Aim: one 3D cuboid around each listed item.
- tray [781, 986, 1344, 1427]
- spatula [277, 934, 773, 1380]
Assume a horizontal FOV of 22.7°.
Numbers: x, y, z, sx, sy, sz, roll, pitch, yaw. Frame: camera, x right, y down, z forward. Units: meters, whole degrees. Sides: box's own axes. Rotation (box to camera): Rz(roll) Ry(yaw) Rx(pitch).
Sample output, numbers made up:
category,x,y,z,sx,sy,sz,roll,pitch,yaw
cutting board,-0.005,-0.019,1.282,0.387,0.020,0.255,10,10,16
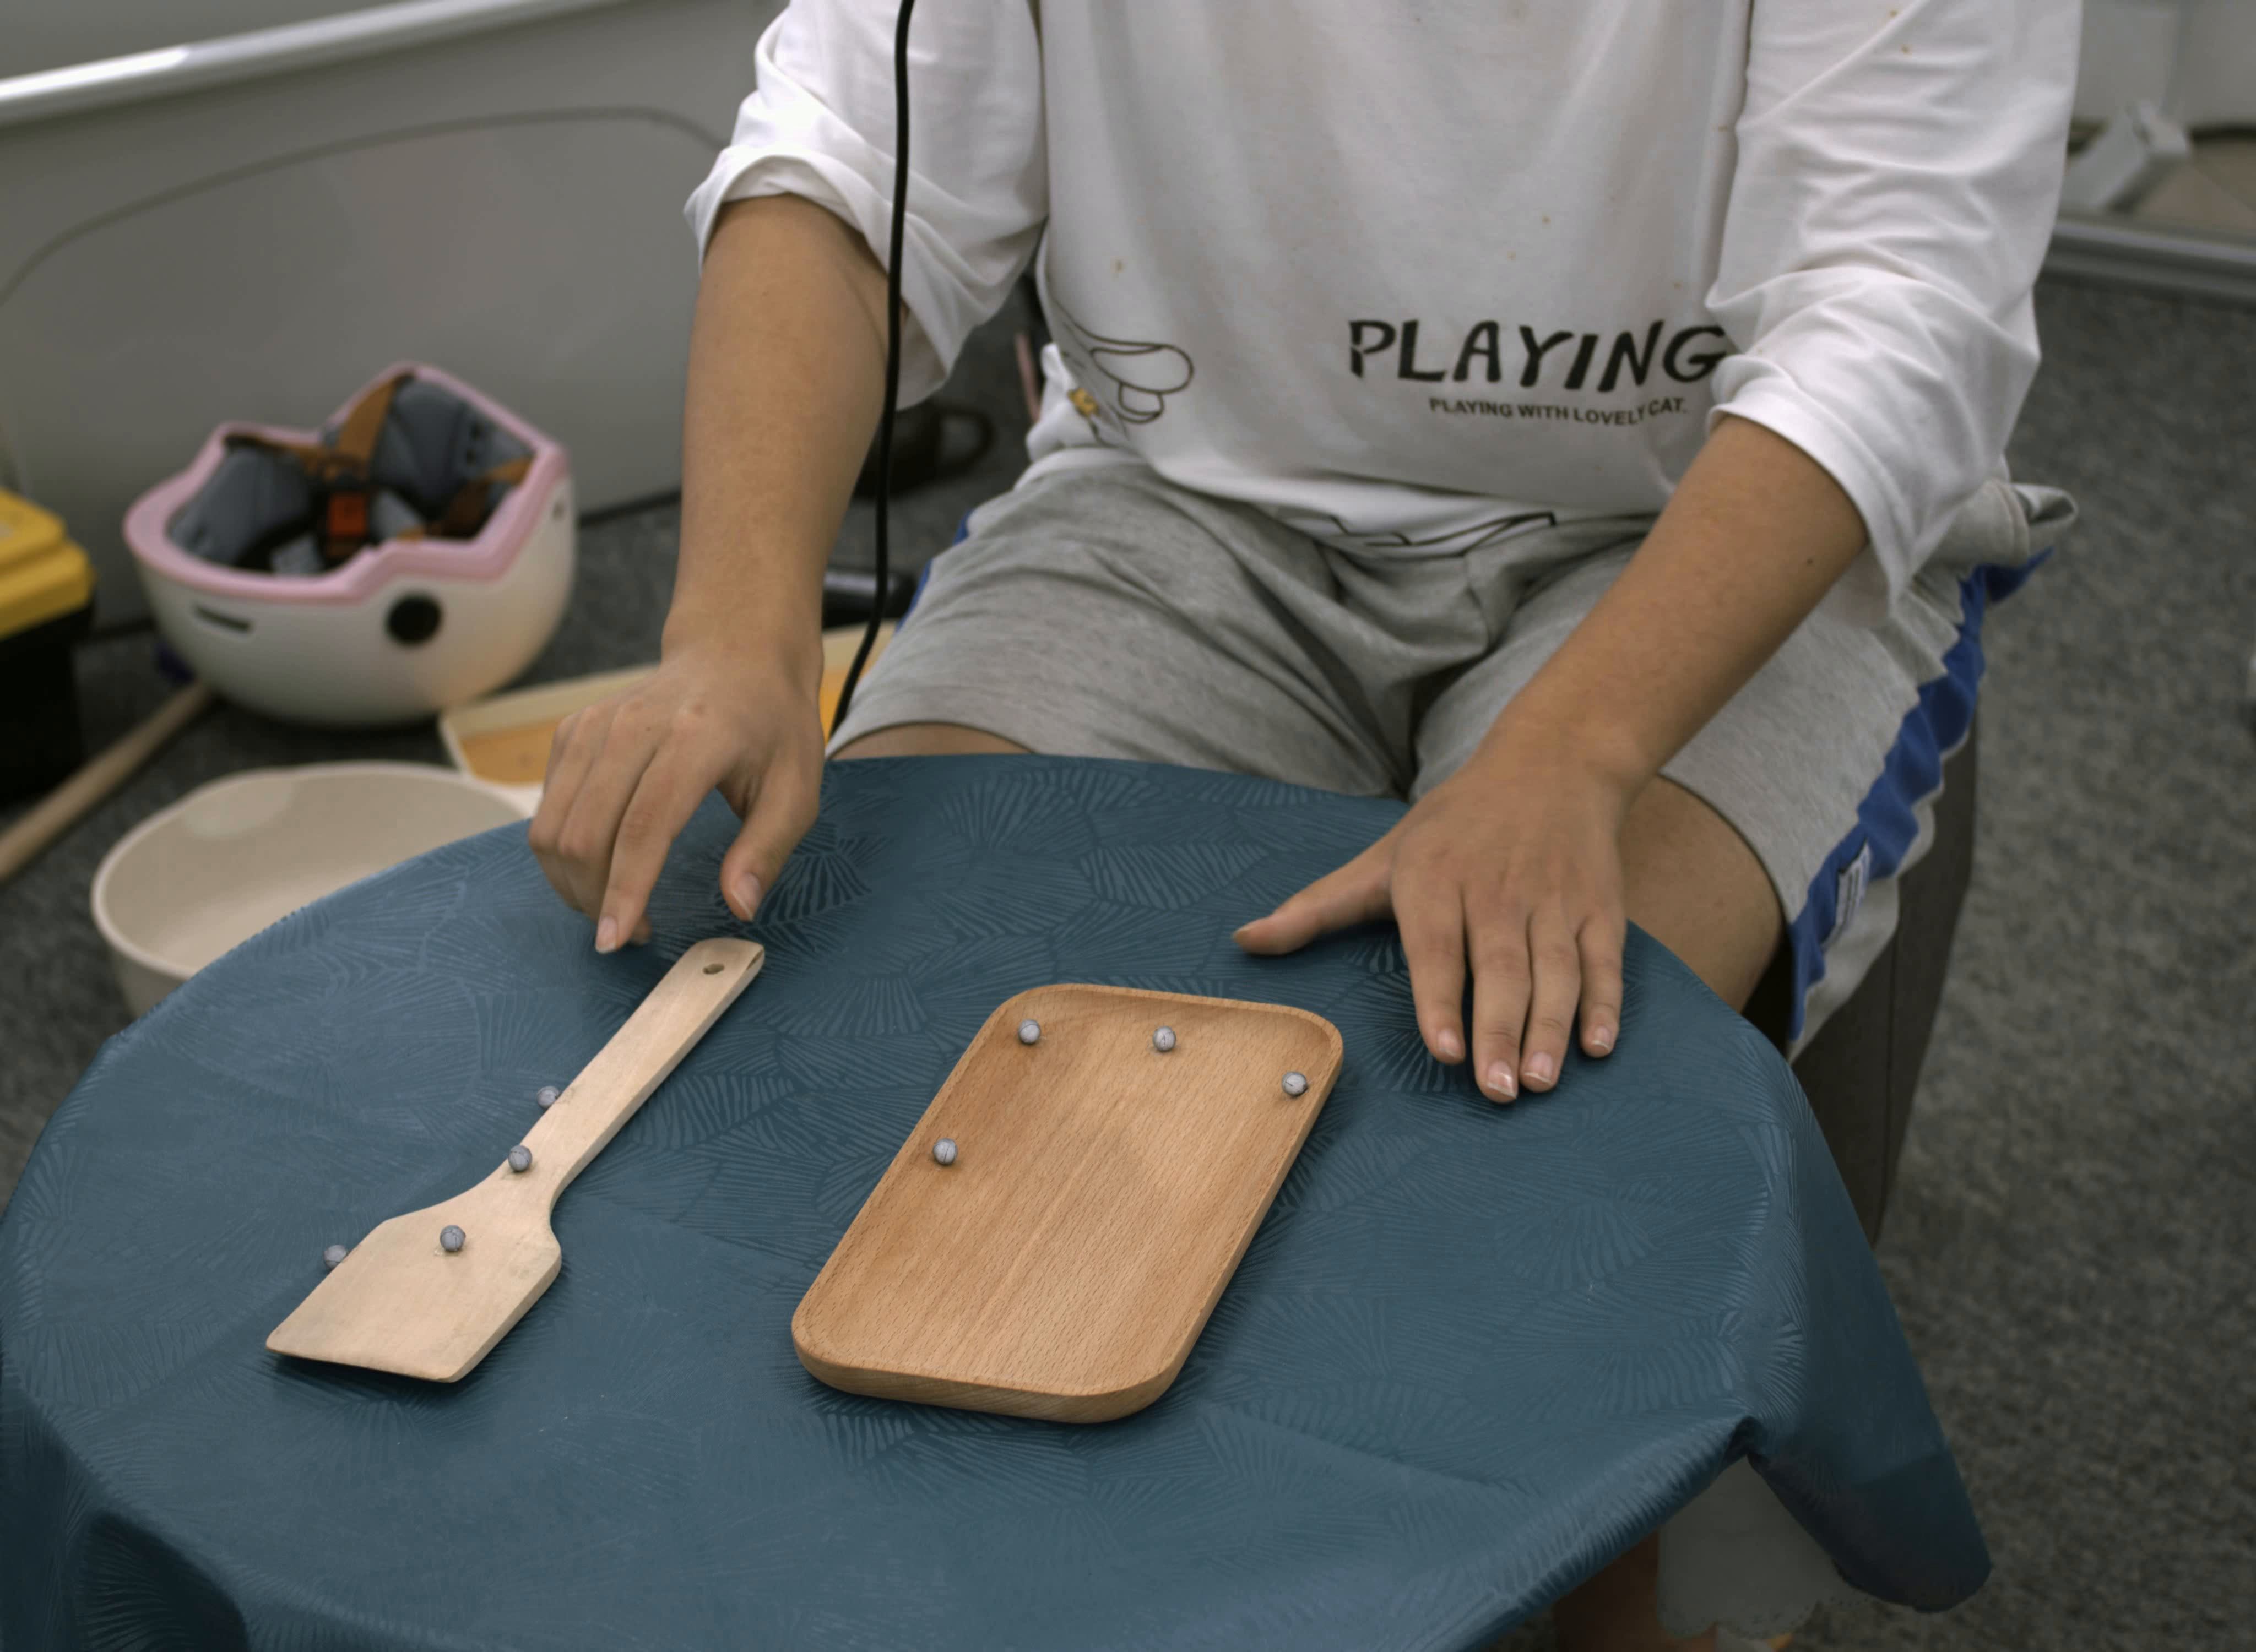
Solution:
category,x,y,z,sx,sy,sz,roll,pitch,yaw
tray,-0.018,0.122,1.848,0.129,0.022,0.255,4,28,18
spatula,-0.190,0.107,1.899,0.072,0.010,0.298,6,29,20
